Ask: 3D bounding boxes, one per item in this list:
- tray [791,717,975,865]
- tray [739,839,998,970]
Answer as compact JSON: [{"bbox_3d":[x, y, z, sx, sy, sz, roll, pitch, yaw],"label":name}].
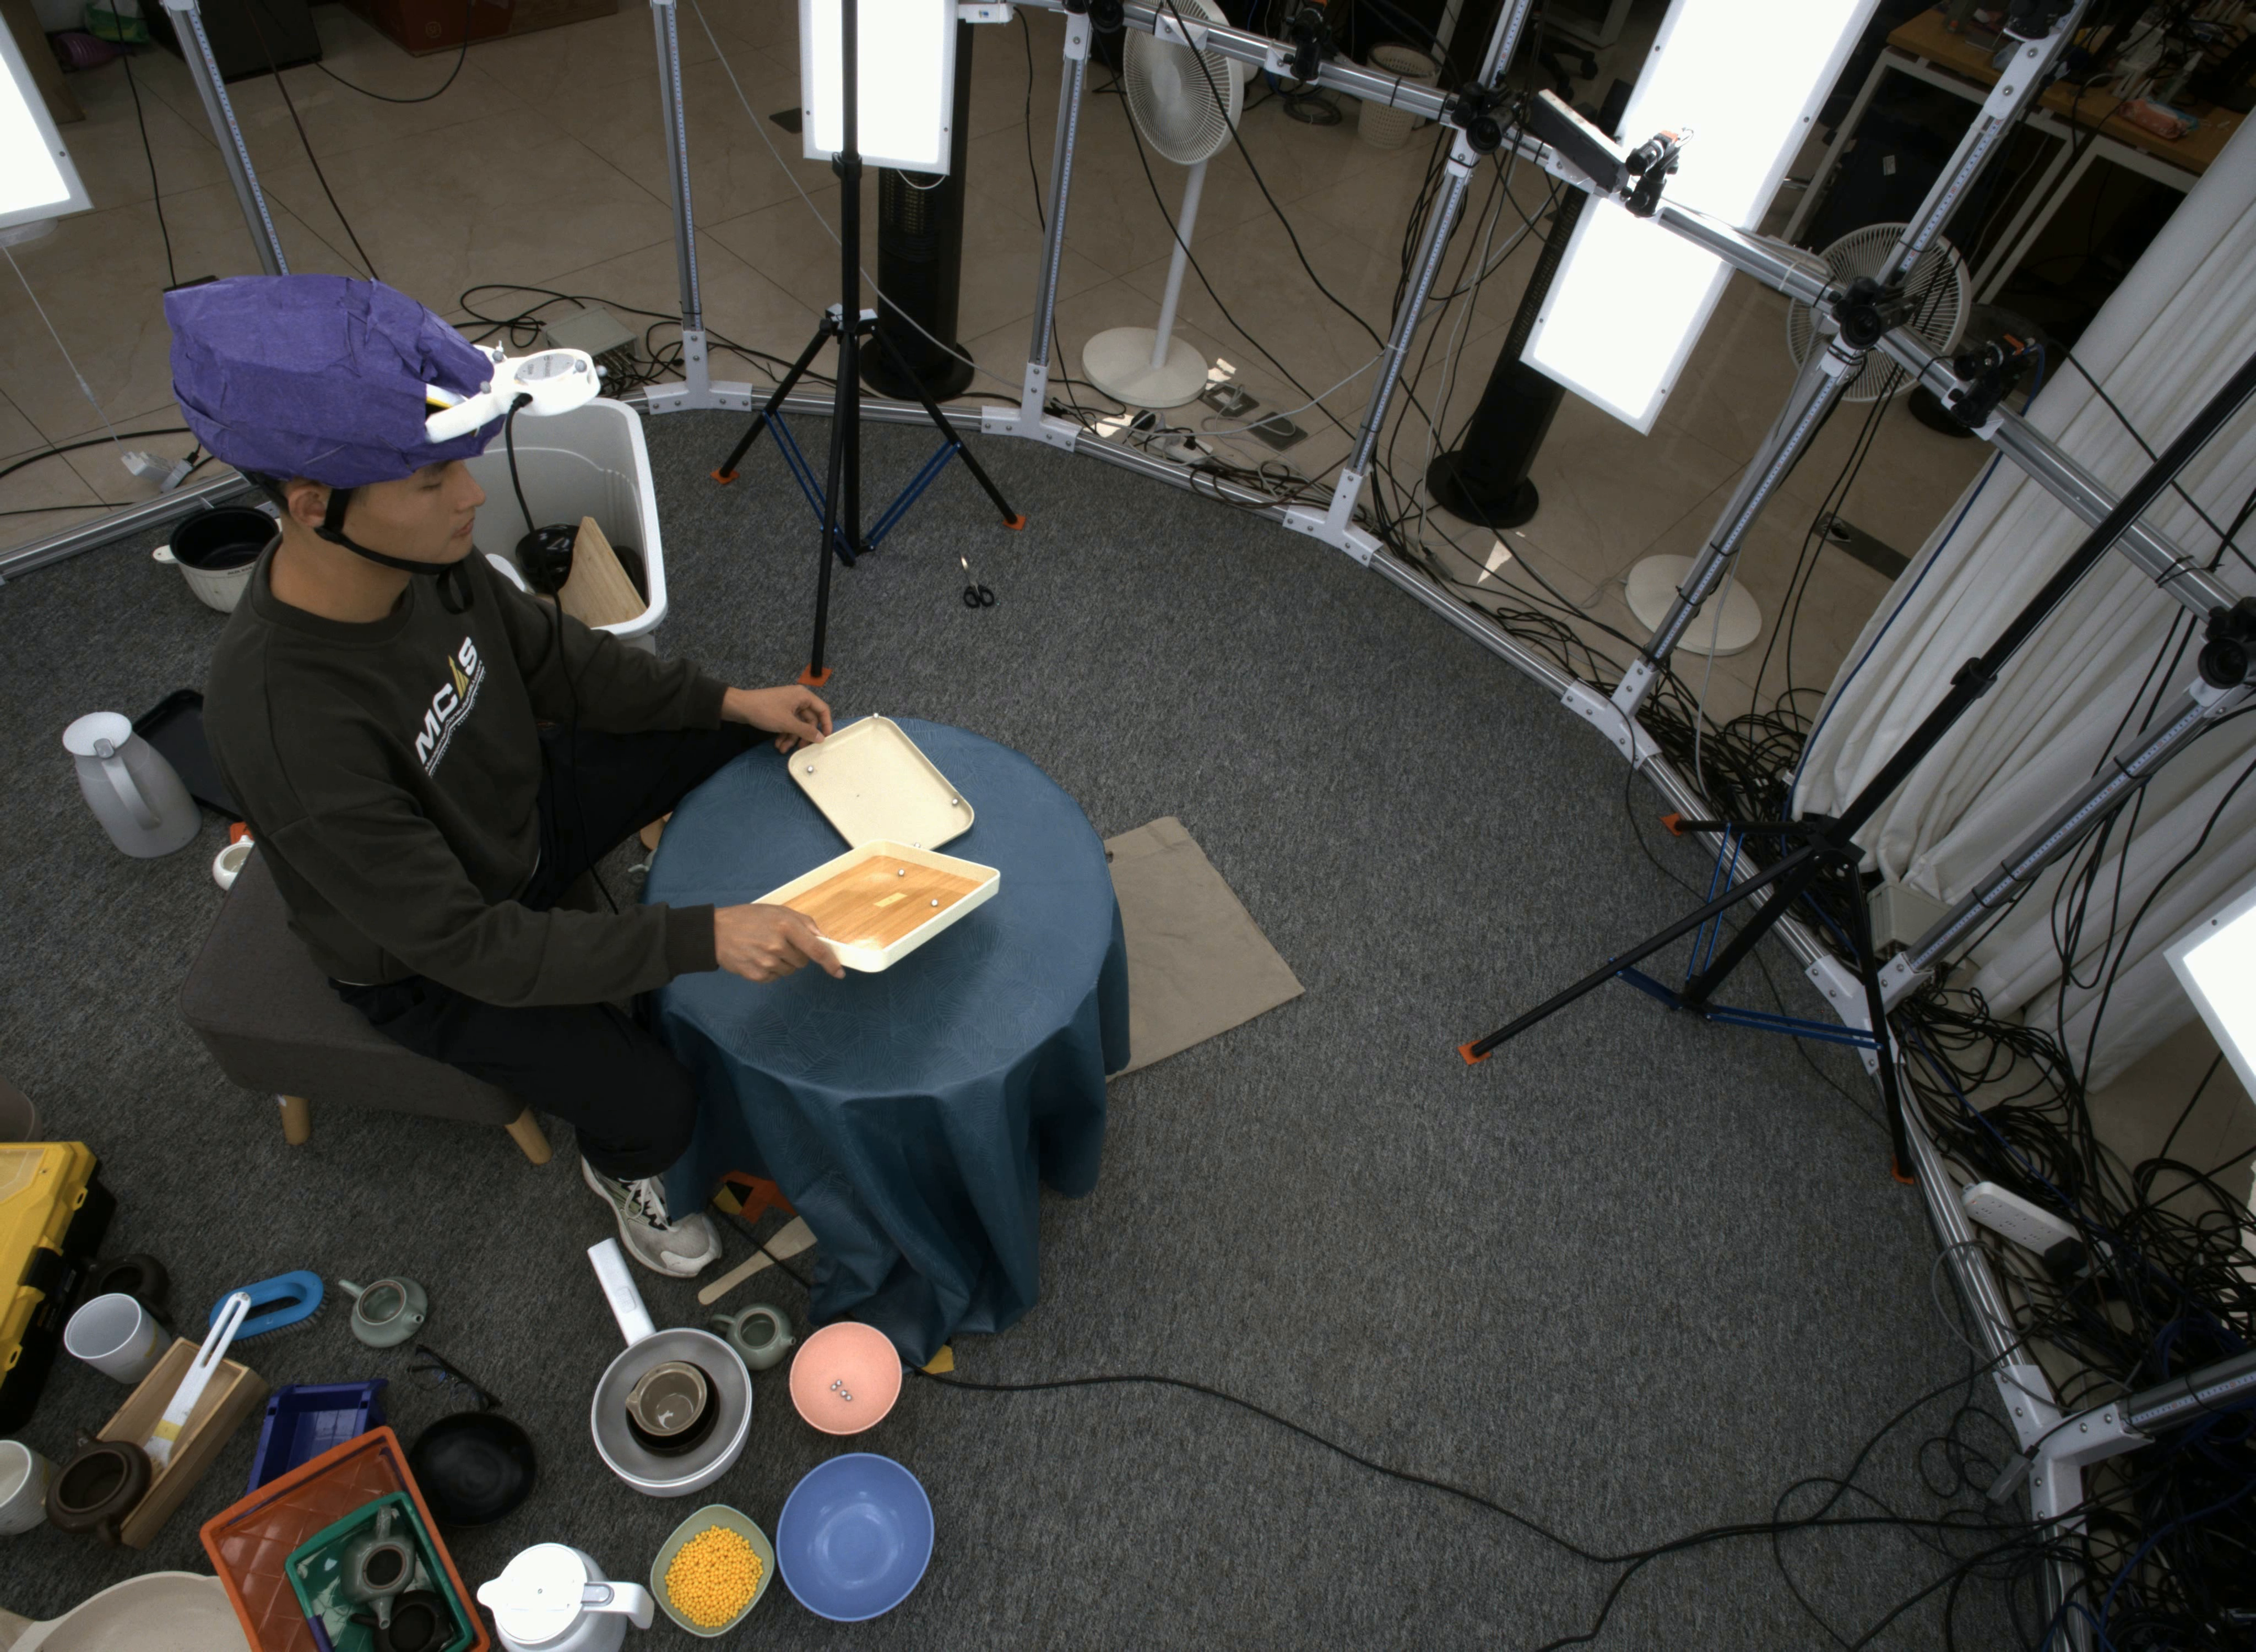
[{"bbox_3d":[-0.335,-0.045,1.779,0.172,0.018,0.234,-32,66,-30],"label":"tray"},{"bbox_3d":[-0.303,0.086,1.561,0.186,0.028,0.301,14,21,18],"label":"tray"}]
